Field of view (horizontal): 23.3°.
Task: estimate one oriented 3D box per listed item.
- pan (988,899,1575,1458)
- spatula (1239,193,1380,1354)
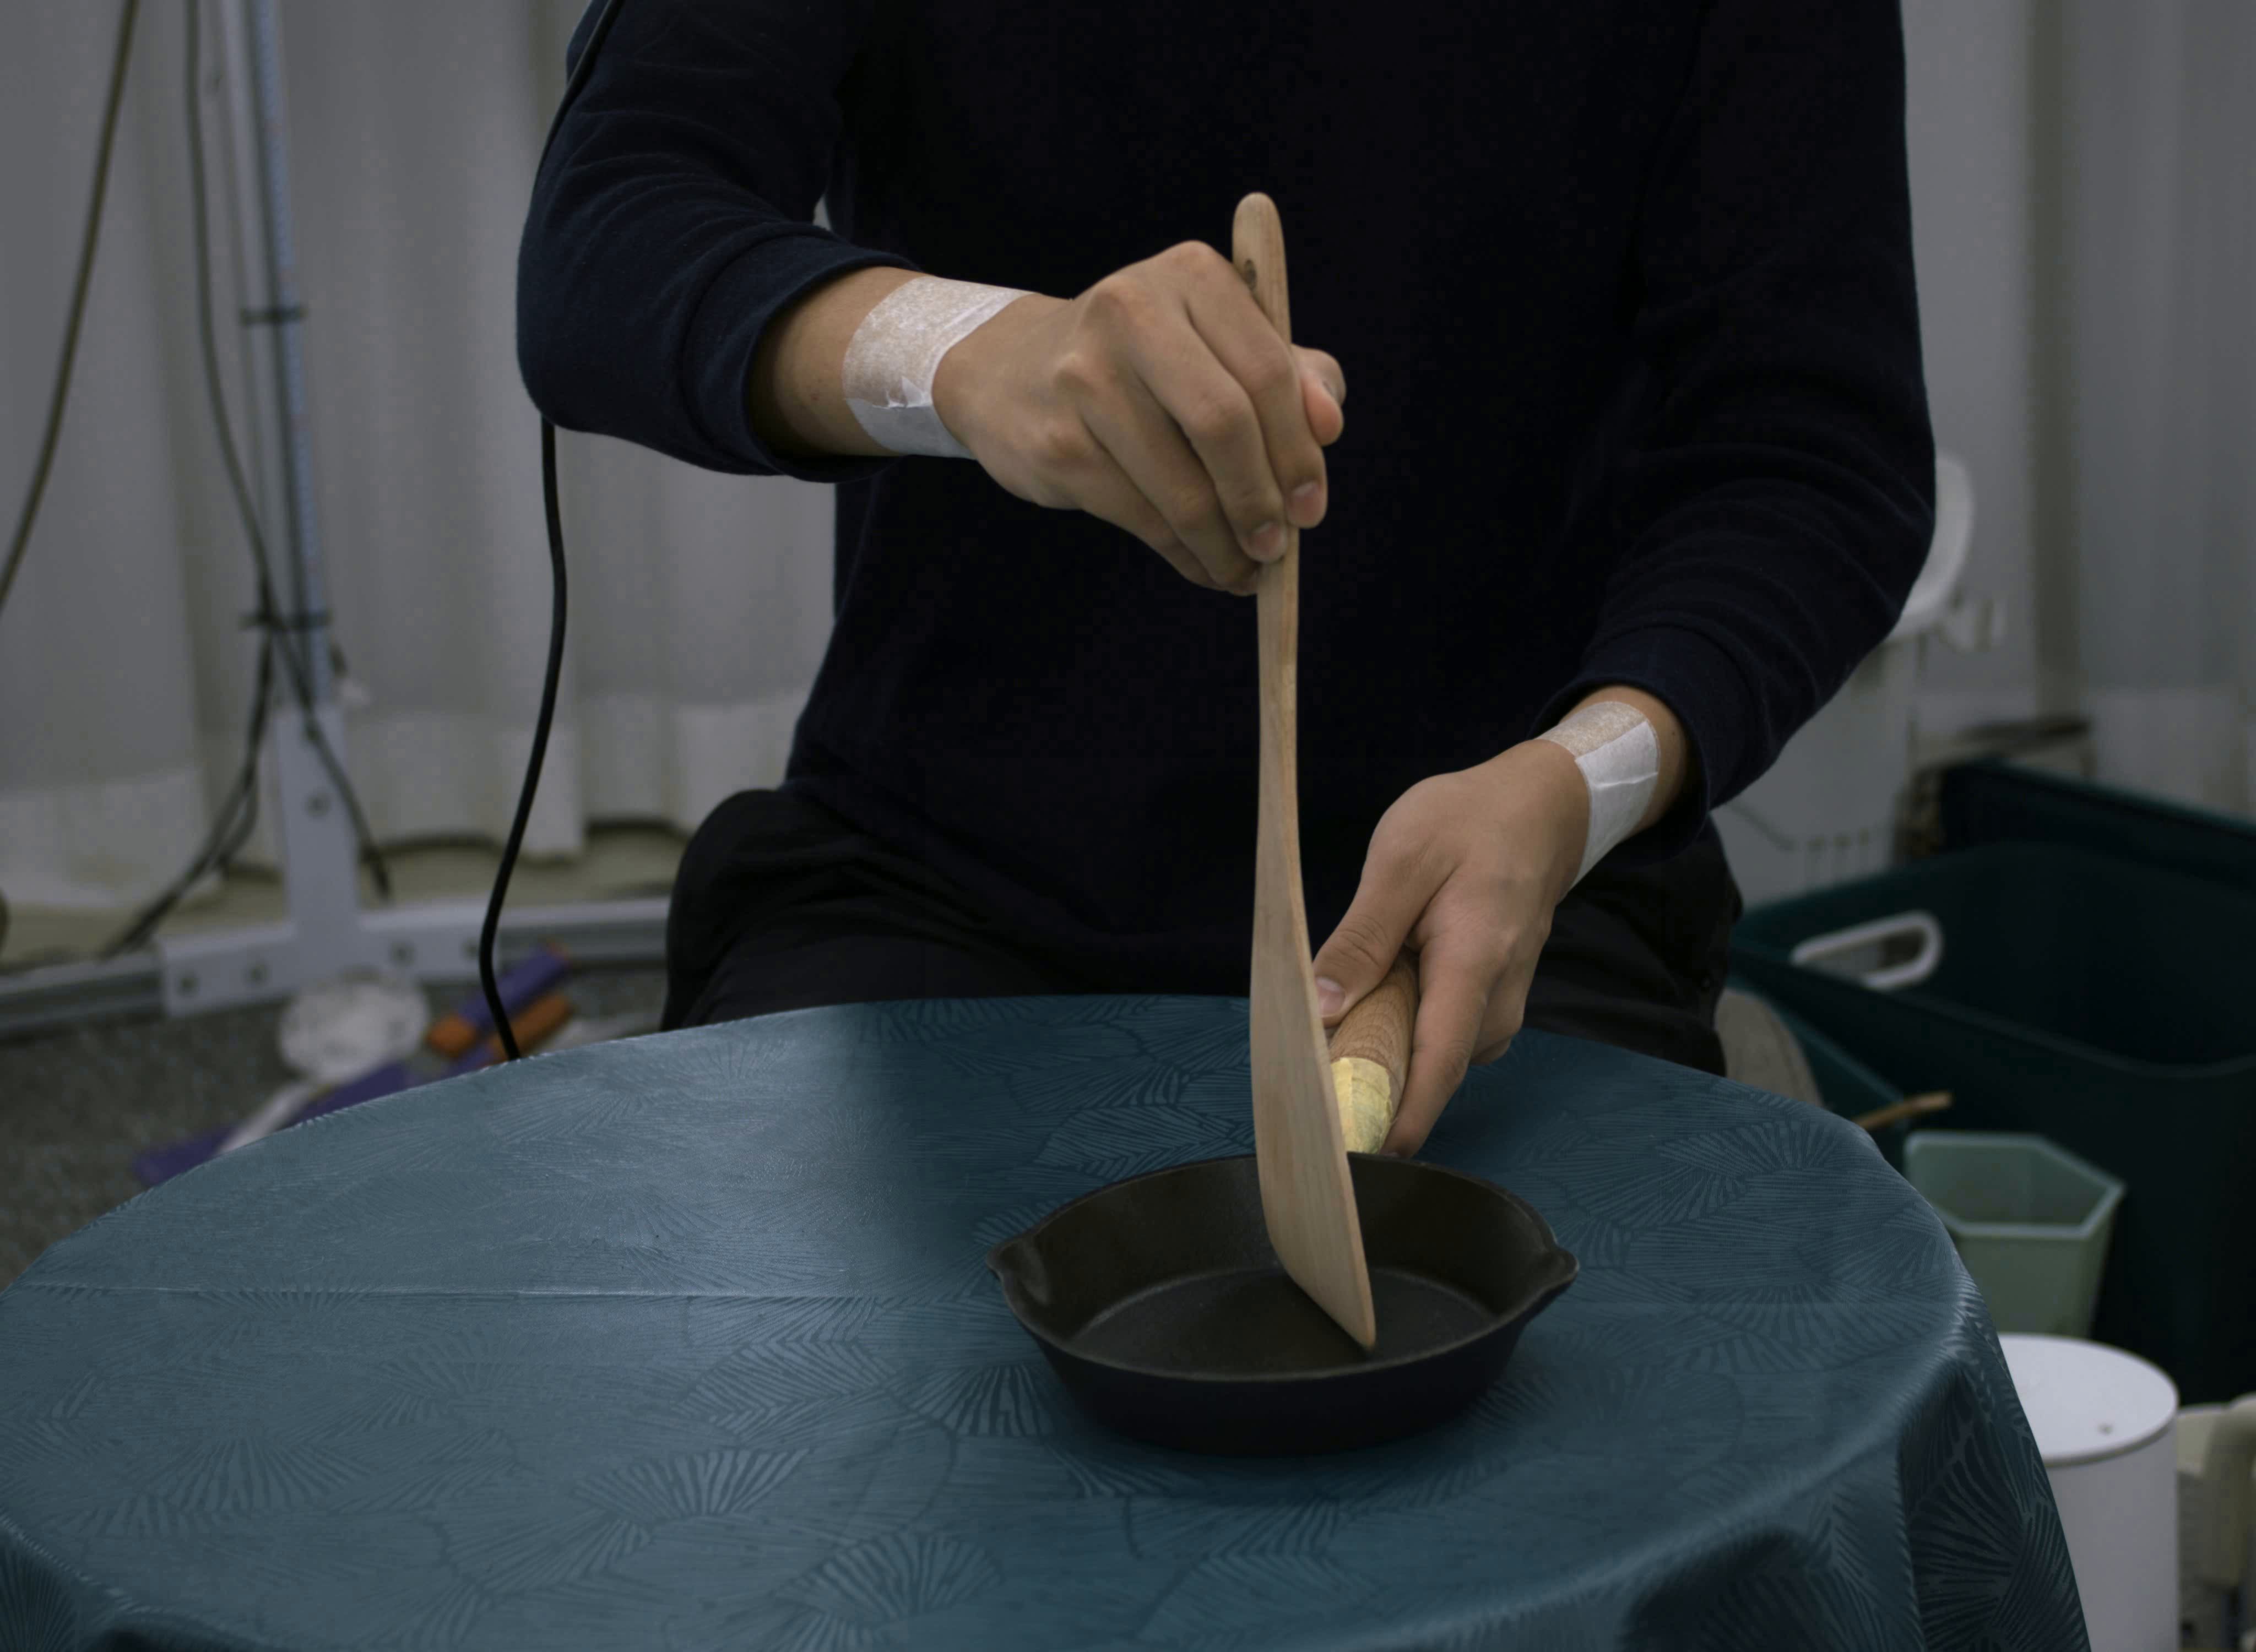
[{"bbox_3d":[0.062,0.101,1.619,0.169,0.049,0.326,1,21,14],"label":"pan"},{"bbox_3d":[0.046,-0.015,1.554,0.016,0.328,0.080,-4,5,-19],"label":"spatula"}]
